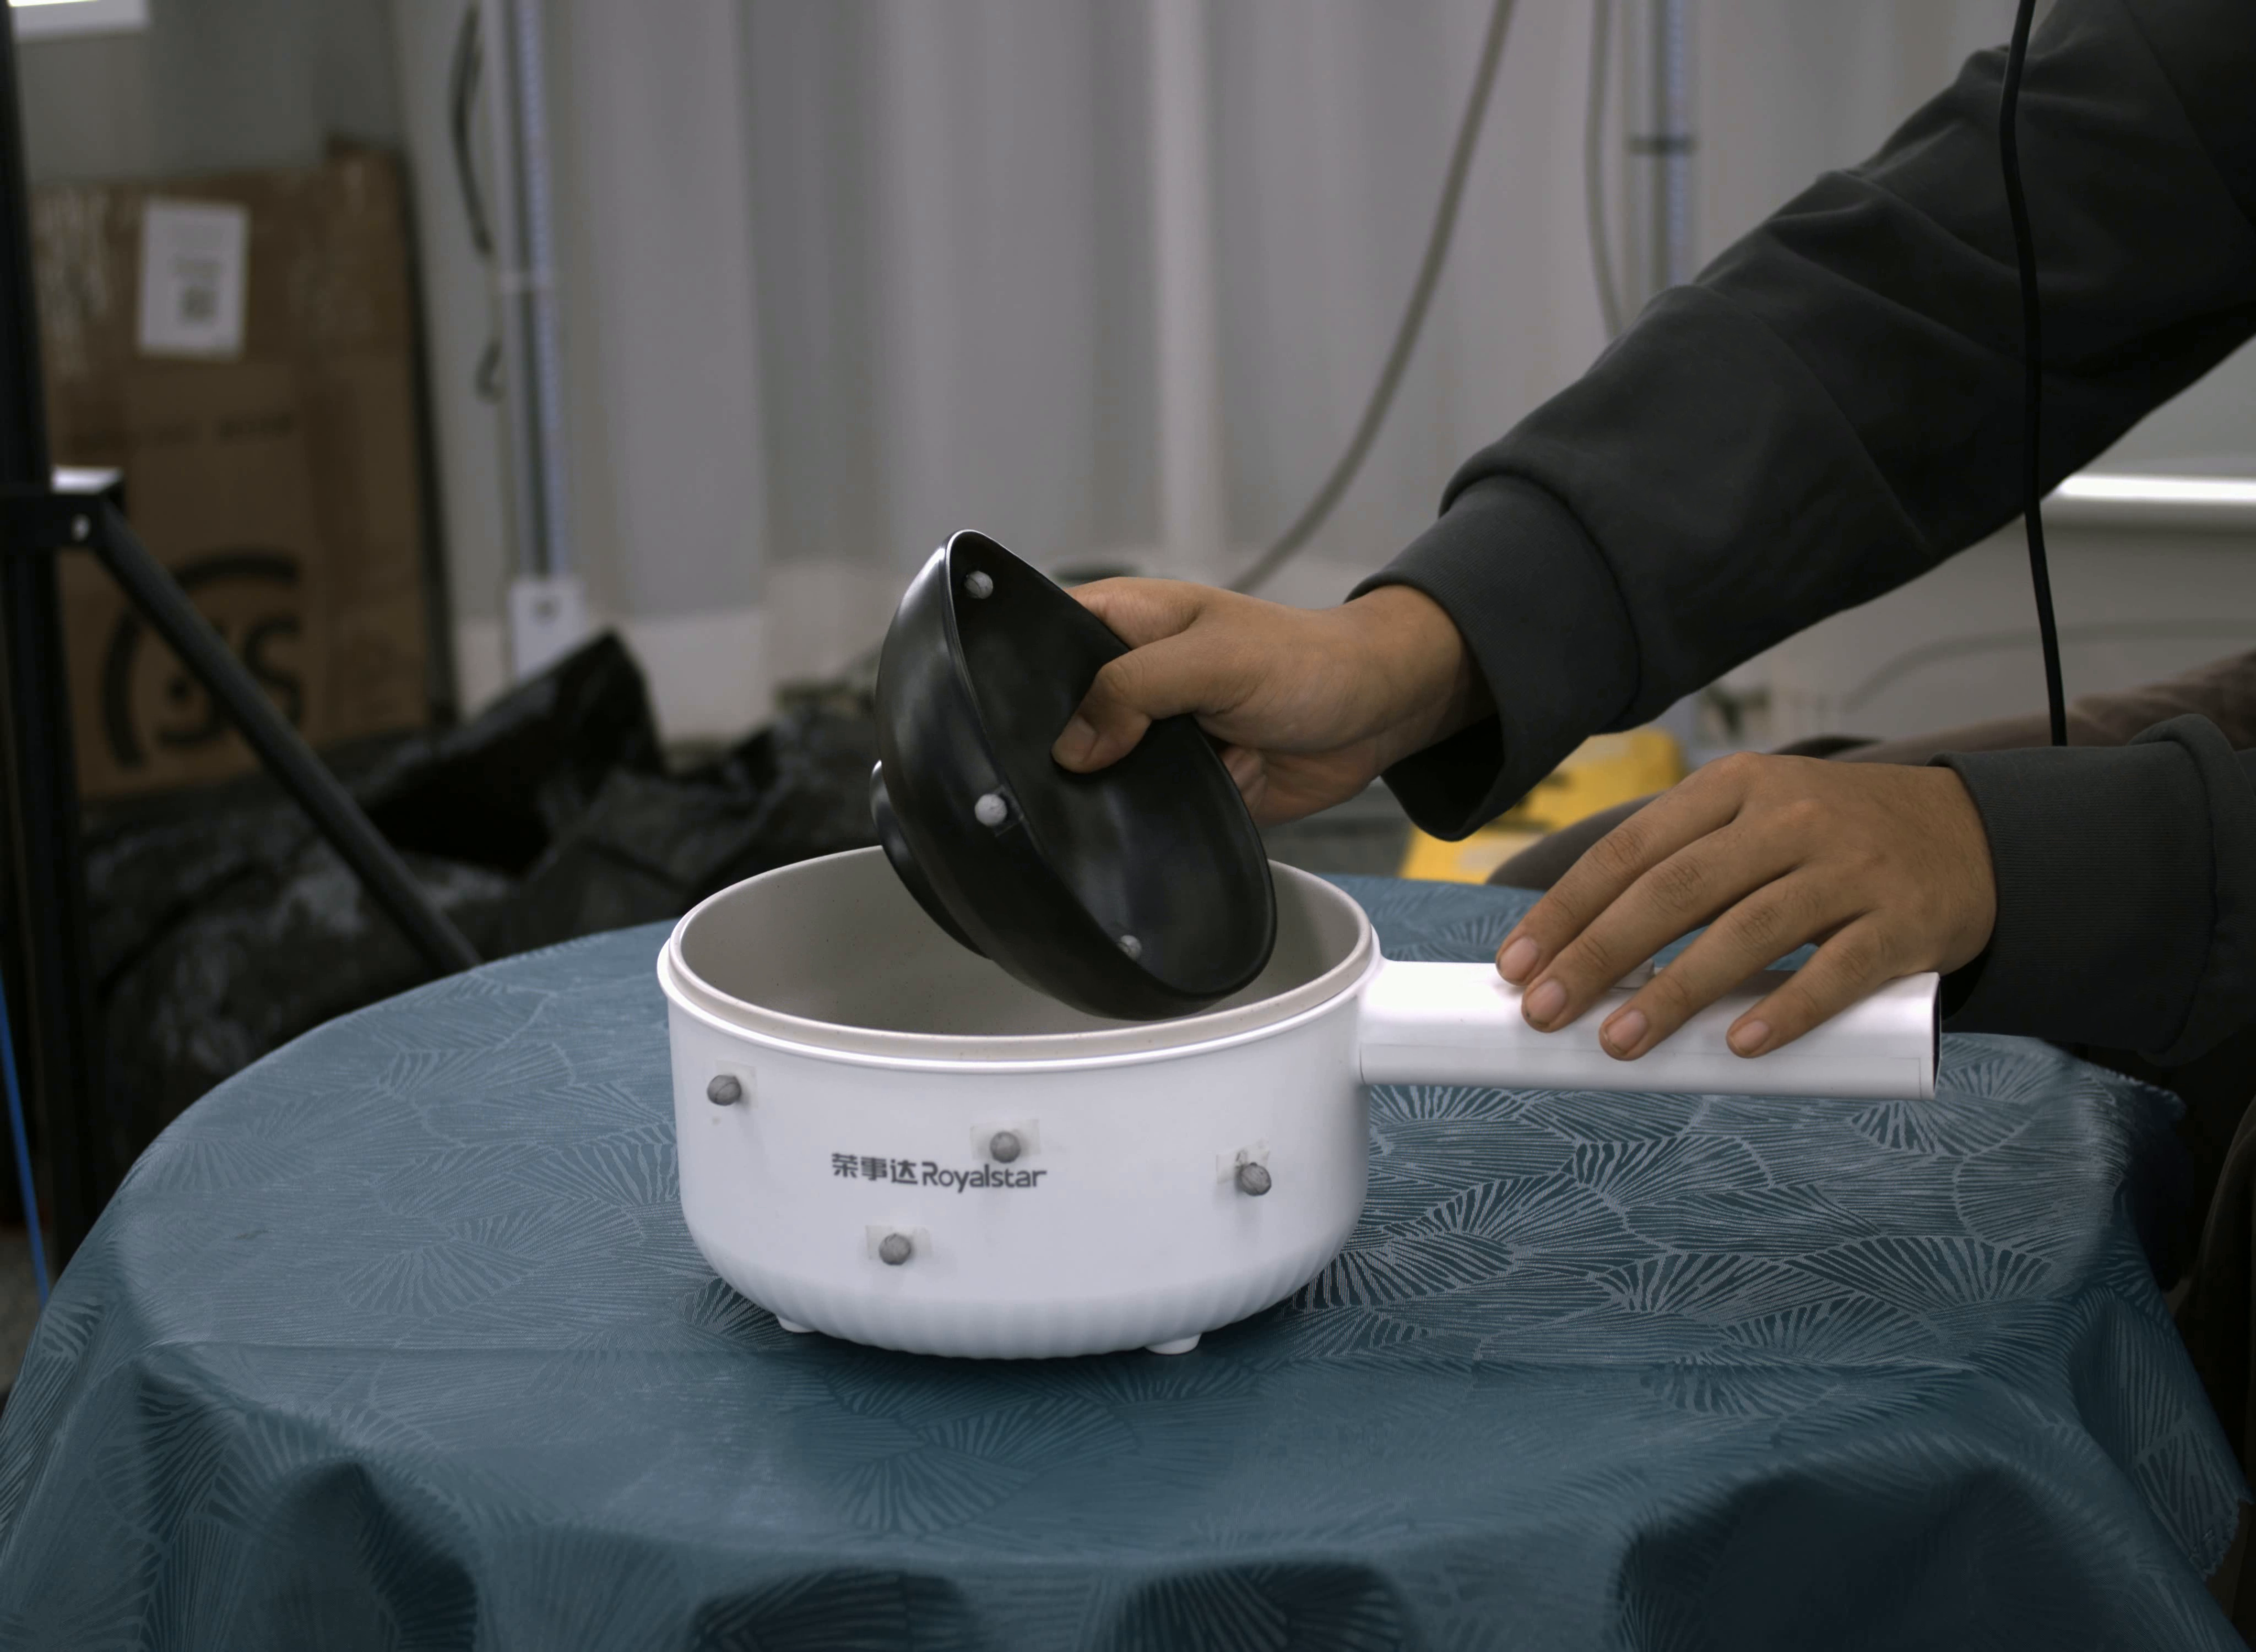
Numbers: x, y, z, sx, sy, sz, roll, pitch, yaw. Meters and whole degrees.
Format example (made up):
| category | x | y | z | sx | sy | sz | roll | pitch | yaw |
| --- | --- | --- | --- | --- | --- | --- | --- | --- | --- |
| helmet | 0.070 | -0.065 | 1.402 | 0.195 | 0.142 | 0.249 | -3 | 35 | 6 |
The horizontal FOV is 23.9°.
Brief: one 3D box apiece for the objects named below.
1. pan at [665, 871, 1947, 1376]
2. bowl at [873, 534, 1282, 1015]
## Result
| category | x | y | z | sx | sy | sz | roll | pitch | yaw |
| --- | --- | --- | --- | --- | --- | --- | --- | --- | --- |
| pan | 0.046 | 0.089 | 1.467 | 0.357 | 0.102 | 0.200 | 4 | 13 | 12 |
| bowl | -0.027 | -0.007 | 1.485 | 0.067 | 0.134 | 0.173 | -38 | 40 | 22 |
